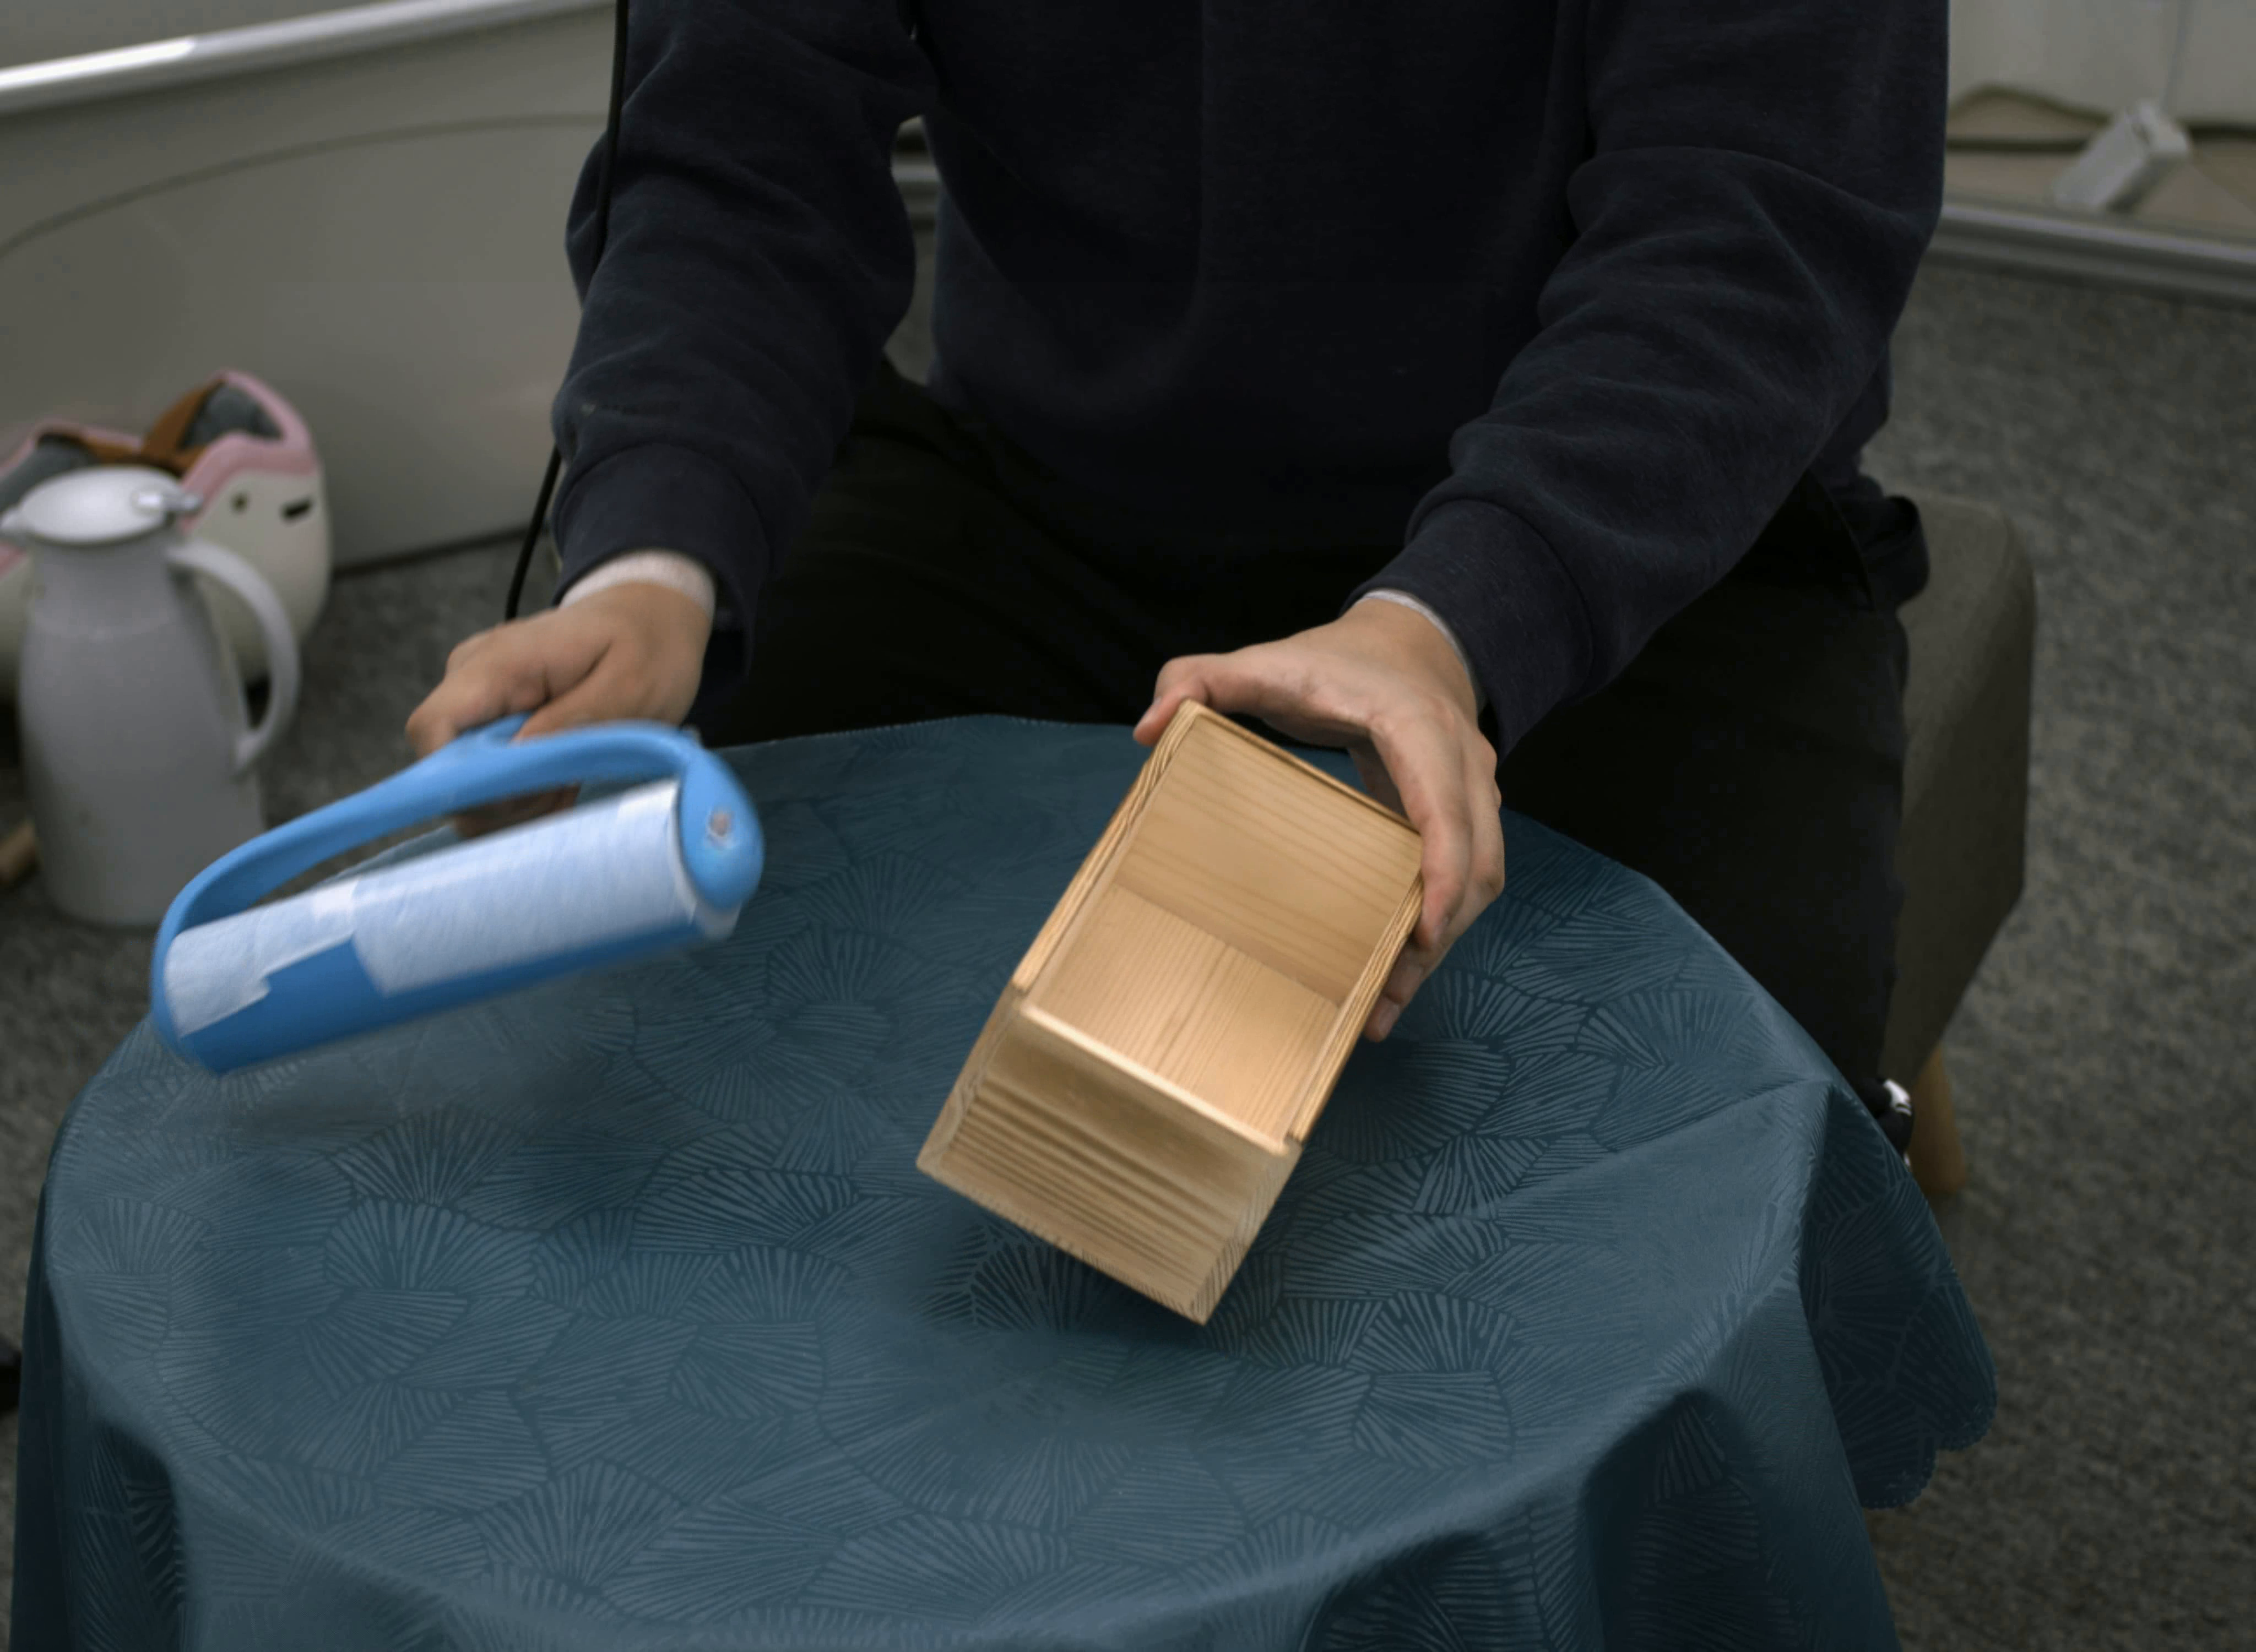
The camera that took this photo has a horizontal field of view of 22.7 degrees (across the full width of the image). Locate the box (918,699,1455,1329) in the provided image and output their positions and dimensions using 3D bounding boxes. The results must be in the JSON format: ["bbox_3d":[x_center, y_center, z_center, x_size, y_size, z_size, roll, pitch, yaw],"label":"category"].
[{"bbox_3d":[0.022,0.058,1.846,0.107,0.079,0.215,28,31,1],"label":"box"}]

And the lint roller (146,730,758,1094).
[{"bbox_3d":[-0.223,0.008,1.935,0.226,0.067,0.183,-17,31,17],"label":"lint roller"}]
